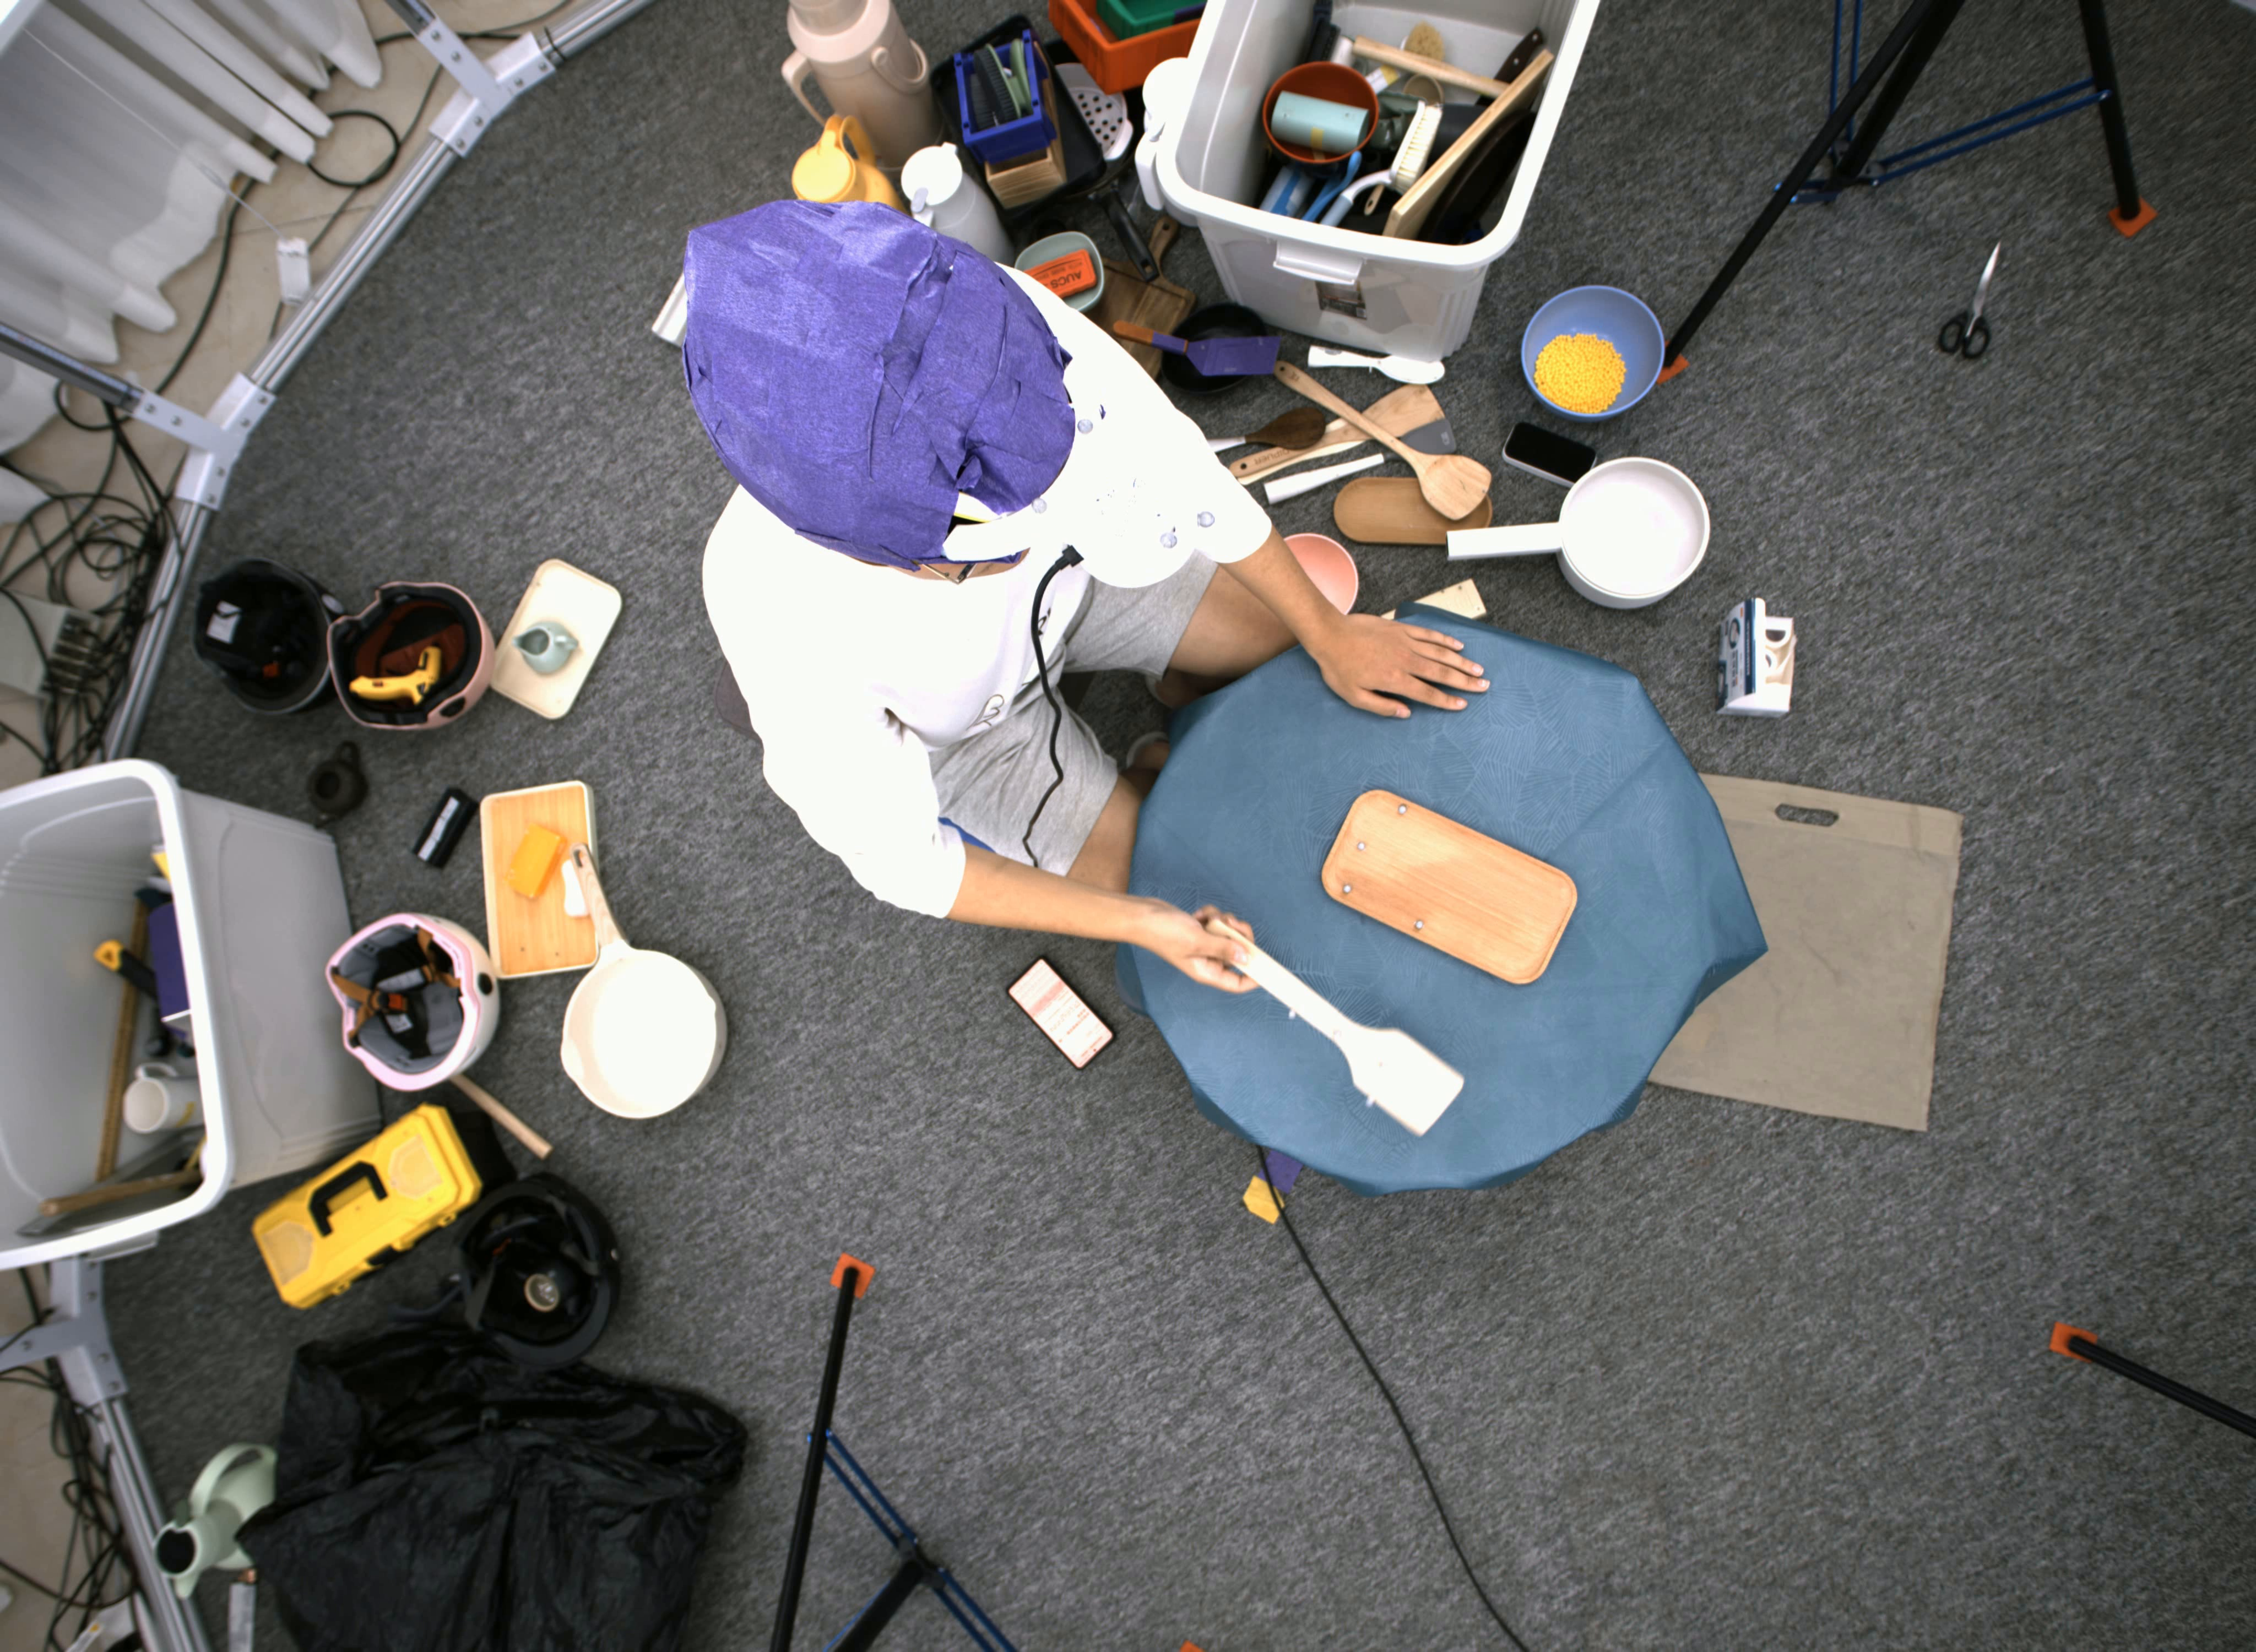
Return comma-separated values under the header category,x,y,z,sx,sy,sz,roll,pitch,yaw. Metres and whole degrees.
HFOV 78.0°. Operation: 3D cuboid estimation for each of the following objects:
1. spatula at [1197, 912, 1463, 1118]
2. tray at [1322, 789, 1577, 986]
category,x,y,z,sx,sy,sz,roll,pitch,yaw
spatula,0.190,0.177,1.359,0.293,0.010,0.073,35,101,3
tray,0.334,0.062,1.440,0.250,0.023,0.131,27,94,11
